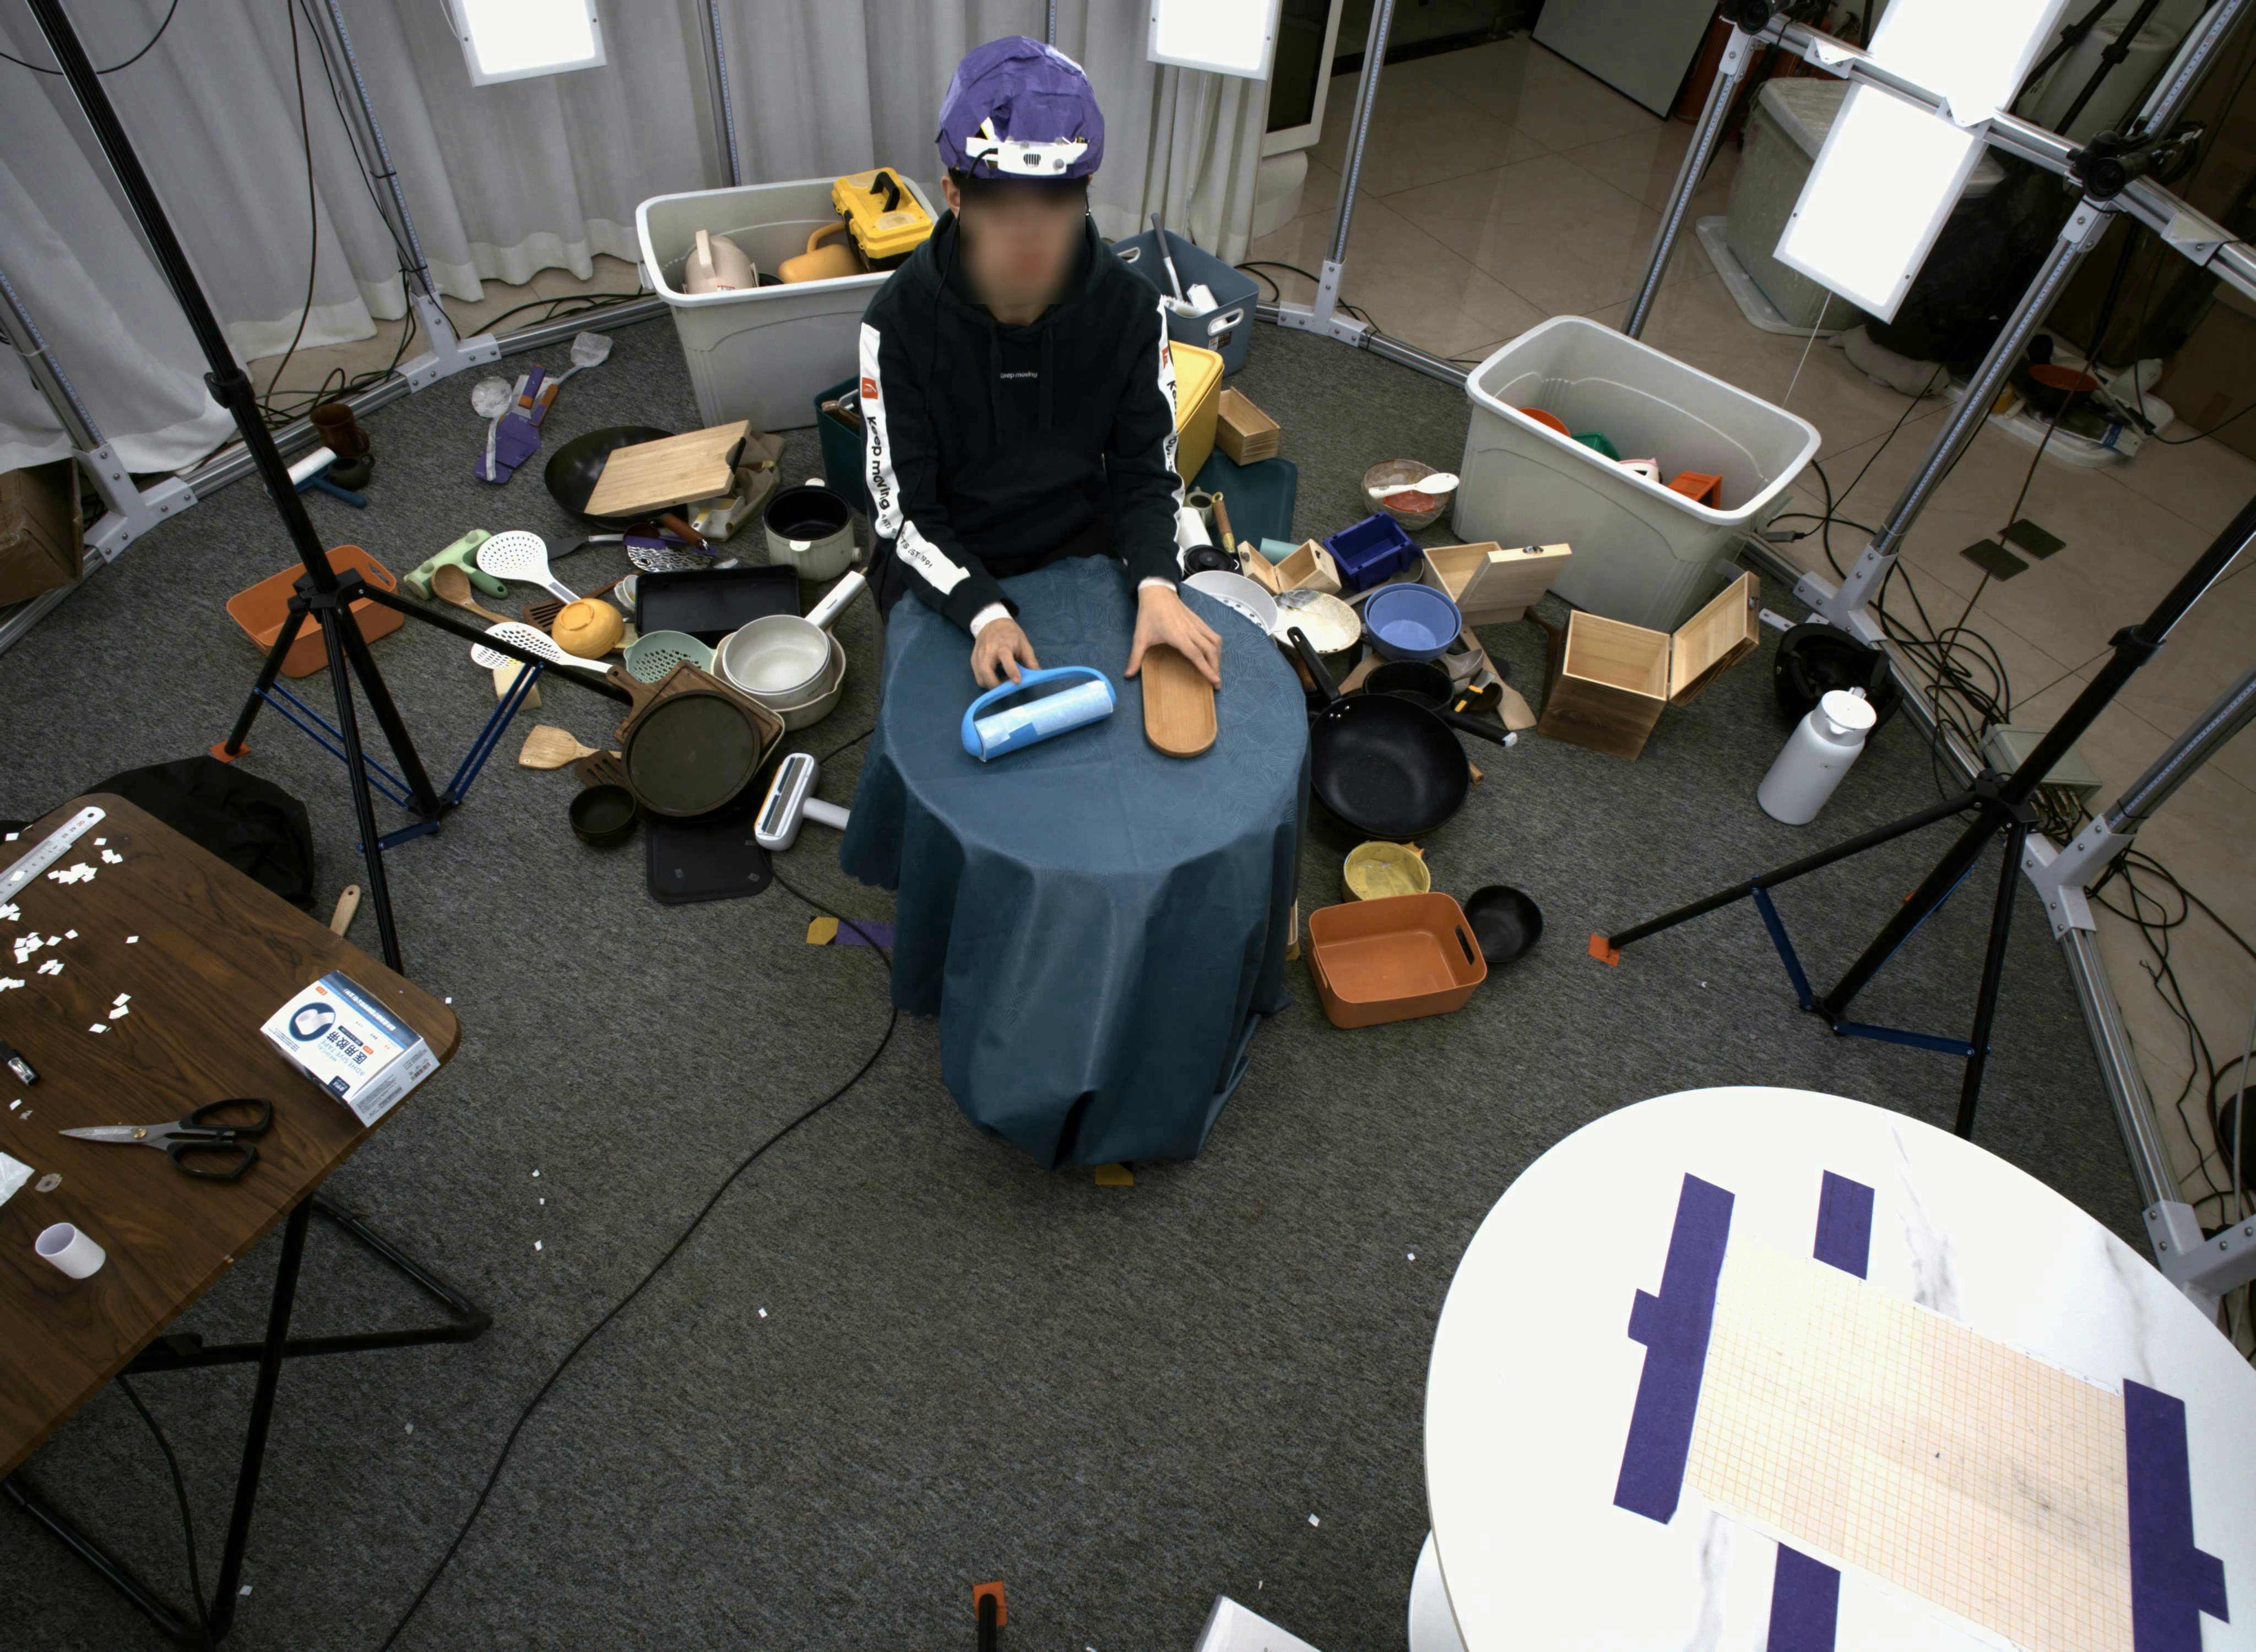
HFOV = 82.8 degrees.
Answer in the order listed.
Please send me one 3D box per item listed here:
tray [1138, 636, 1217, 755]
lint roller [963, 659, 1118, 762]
[{"bbox_3d":[0.069,-0.188,1.825,0.101,0.020,0.237,0,48,-5],"label":"tray"},{"bbox_3d":[-0.147,-0.186,1.783,0.230,0.066,0.184,-24,56,-21],"label":"lint roller"}]
